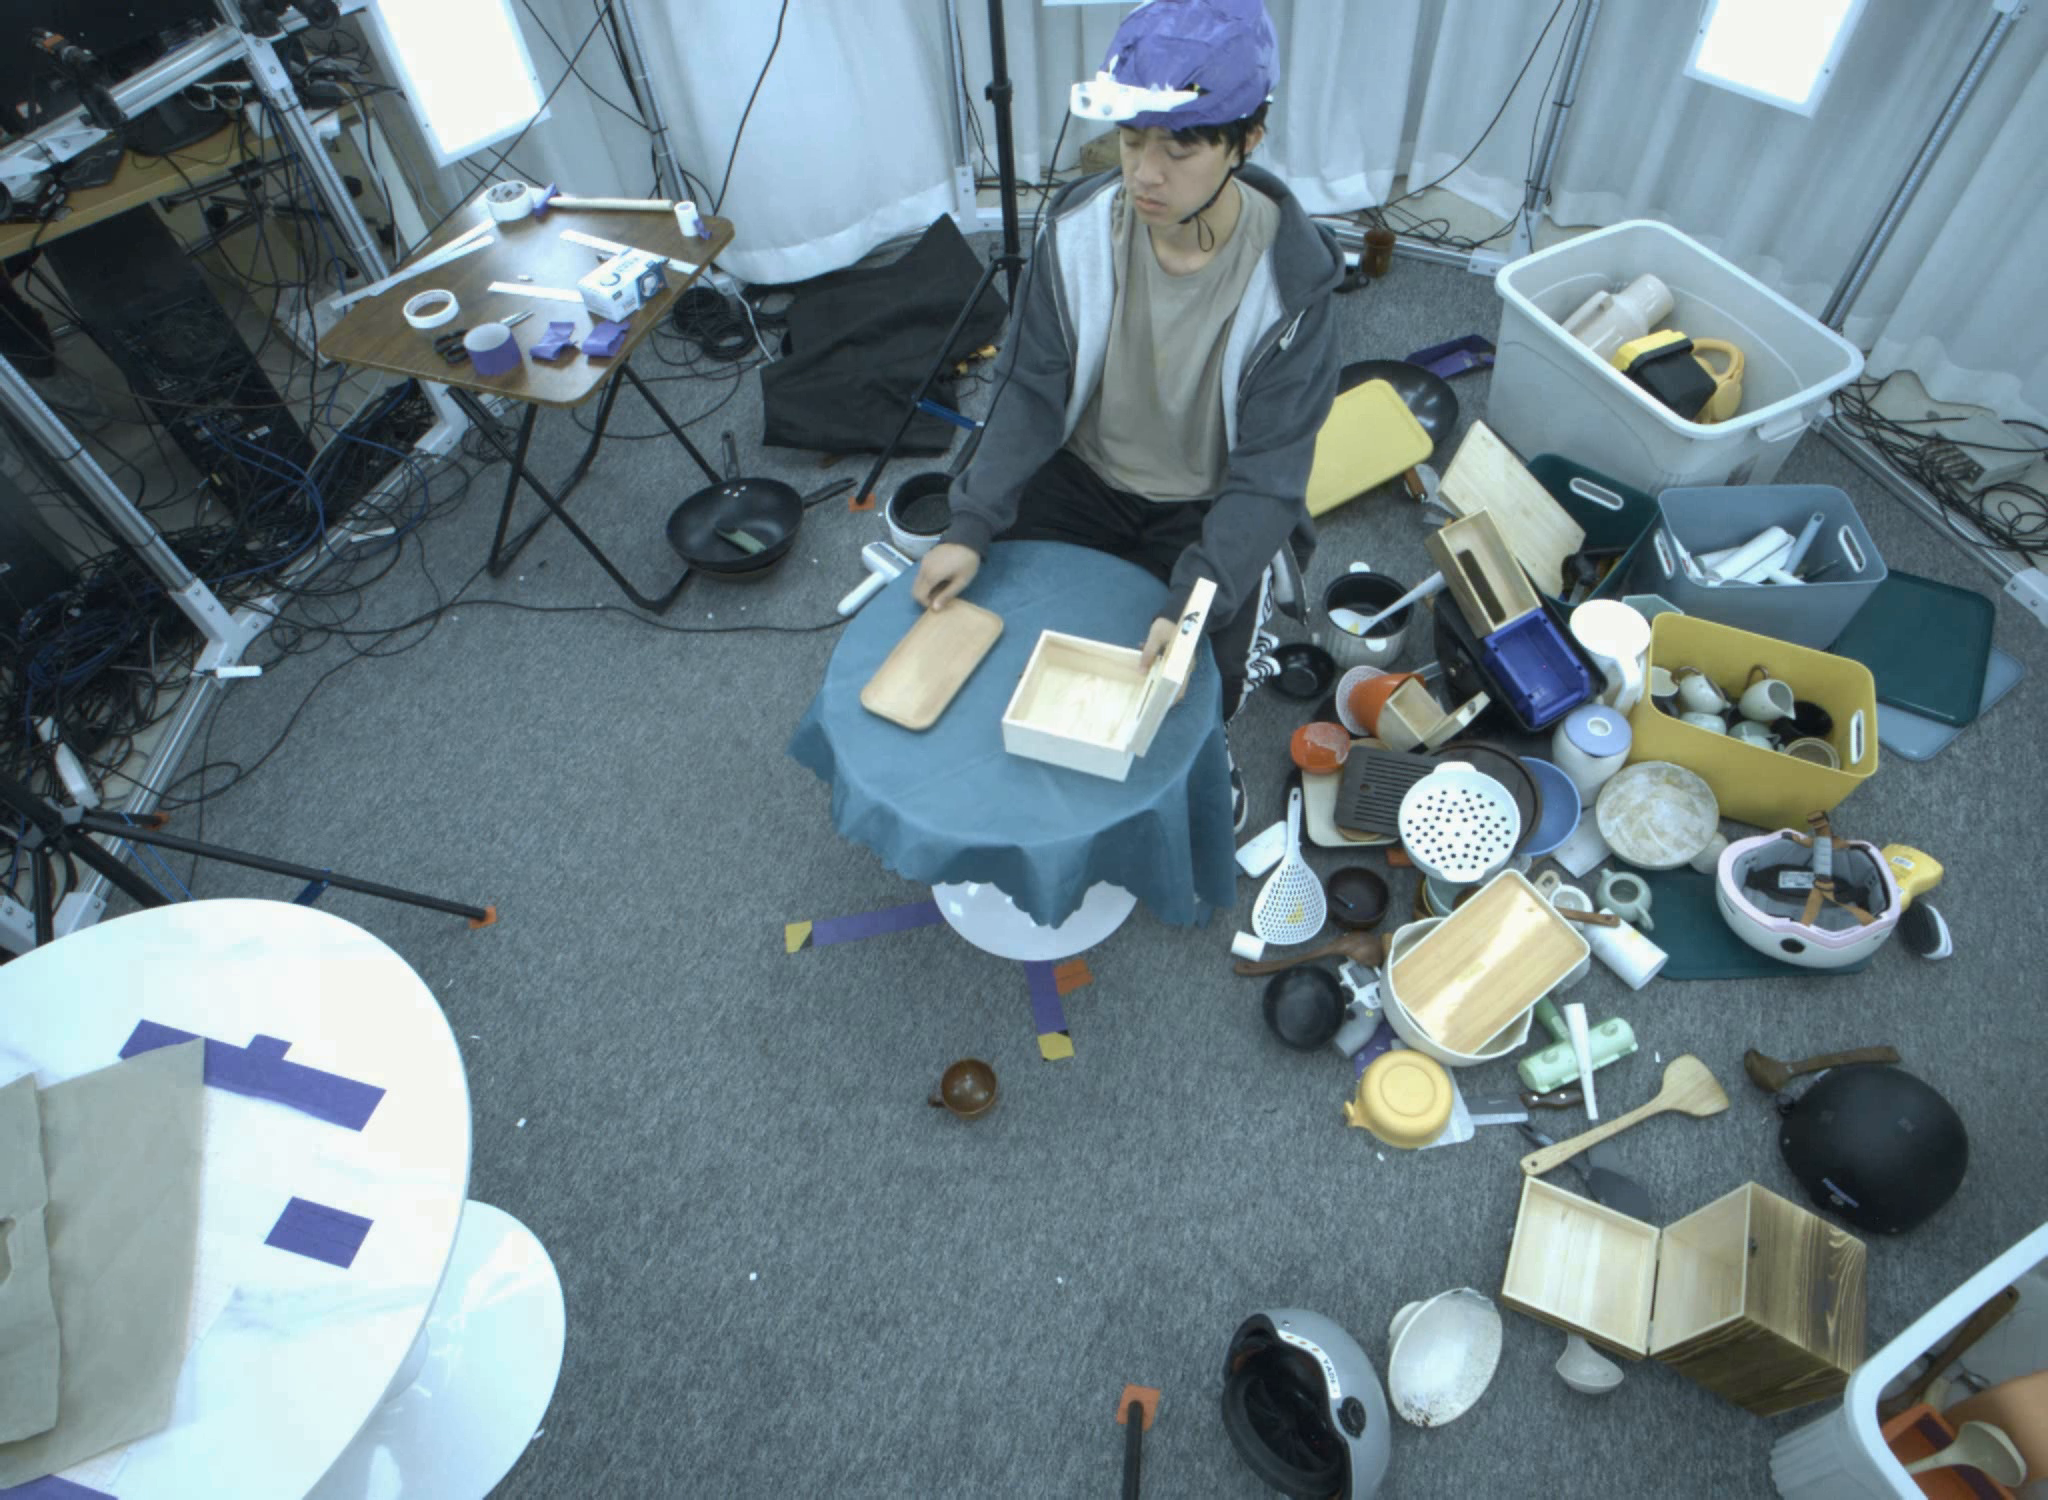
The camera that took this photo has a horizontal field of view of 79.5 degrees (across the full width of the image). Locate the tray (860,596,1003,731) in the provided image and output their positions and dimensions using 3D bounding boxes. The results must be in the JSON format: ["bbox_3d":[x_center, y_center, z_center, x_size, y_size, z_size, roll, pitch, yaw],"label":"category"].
[{"bbox_3d":[-0.140,-0.135,1.878,0.129,0.023,0.251,26,60,15],"label":"tray"}]

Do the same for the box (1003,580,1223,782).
[{"bbox_3d":[0.116,-0.110,1.714,0.263,0.256,0.181,14,54,11],"label":"box"}]
